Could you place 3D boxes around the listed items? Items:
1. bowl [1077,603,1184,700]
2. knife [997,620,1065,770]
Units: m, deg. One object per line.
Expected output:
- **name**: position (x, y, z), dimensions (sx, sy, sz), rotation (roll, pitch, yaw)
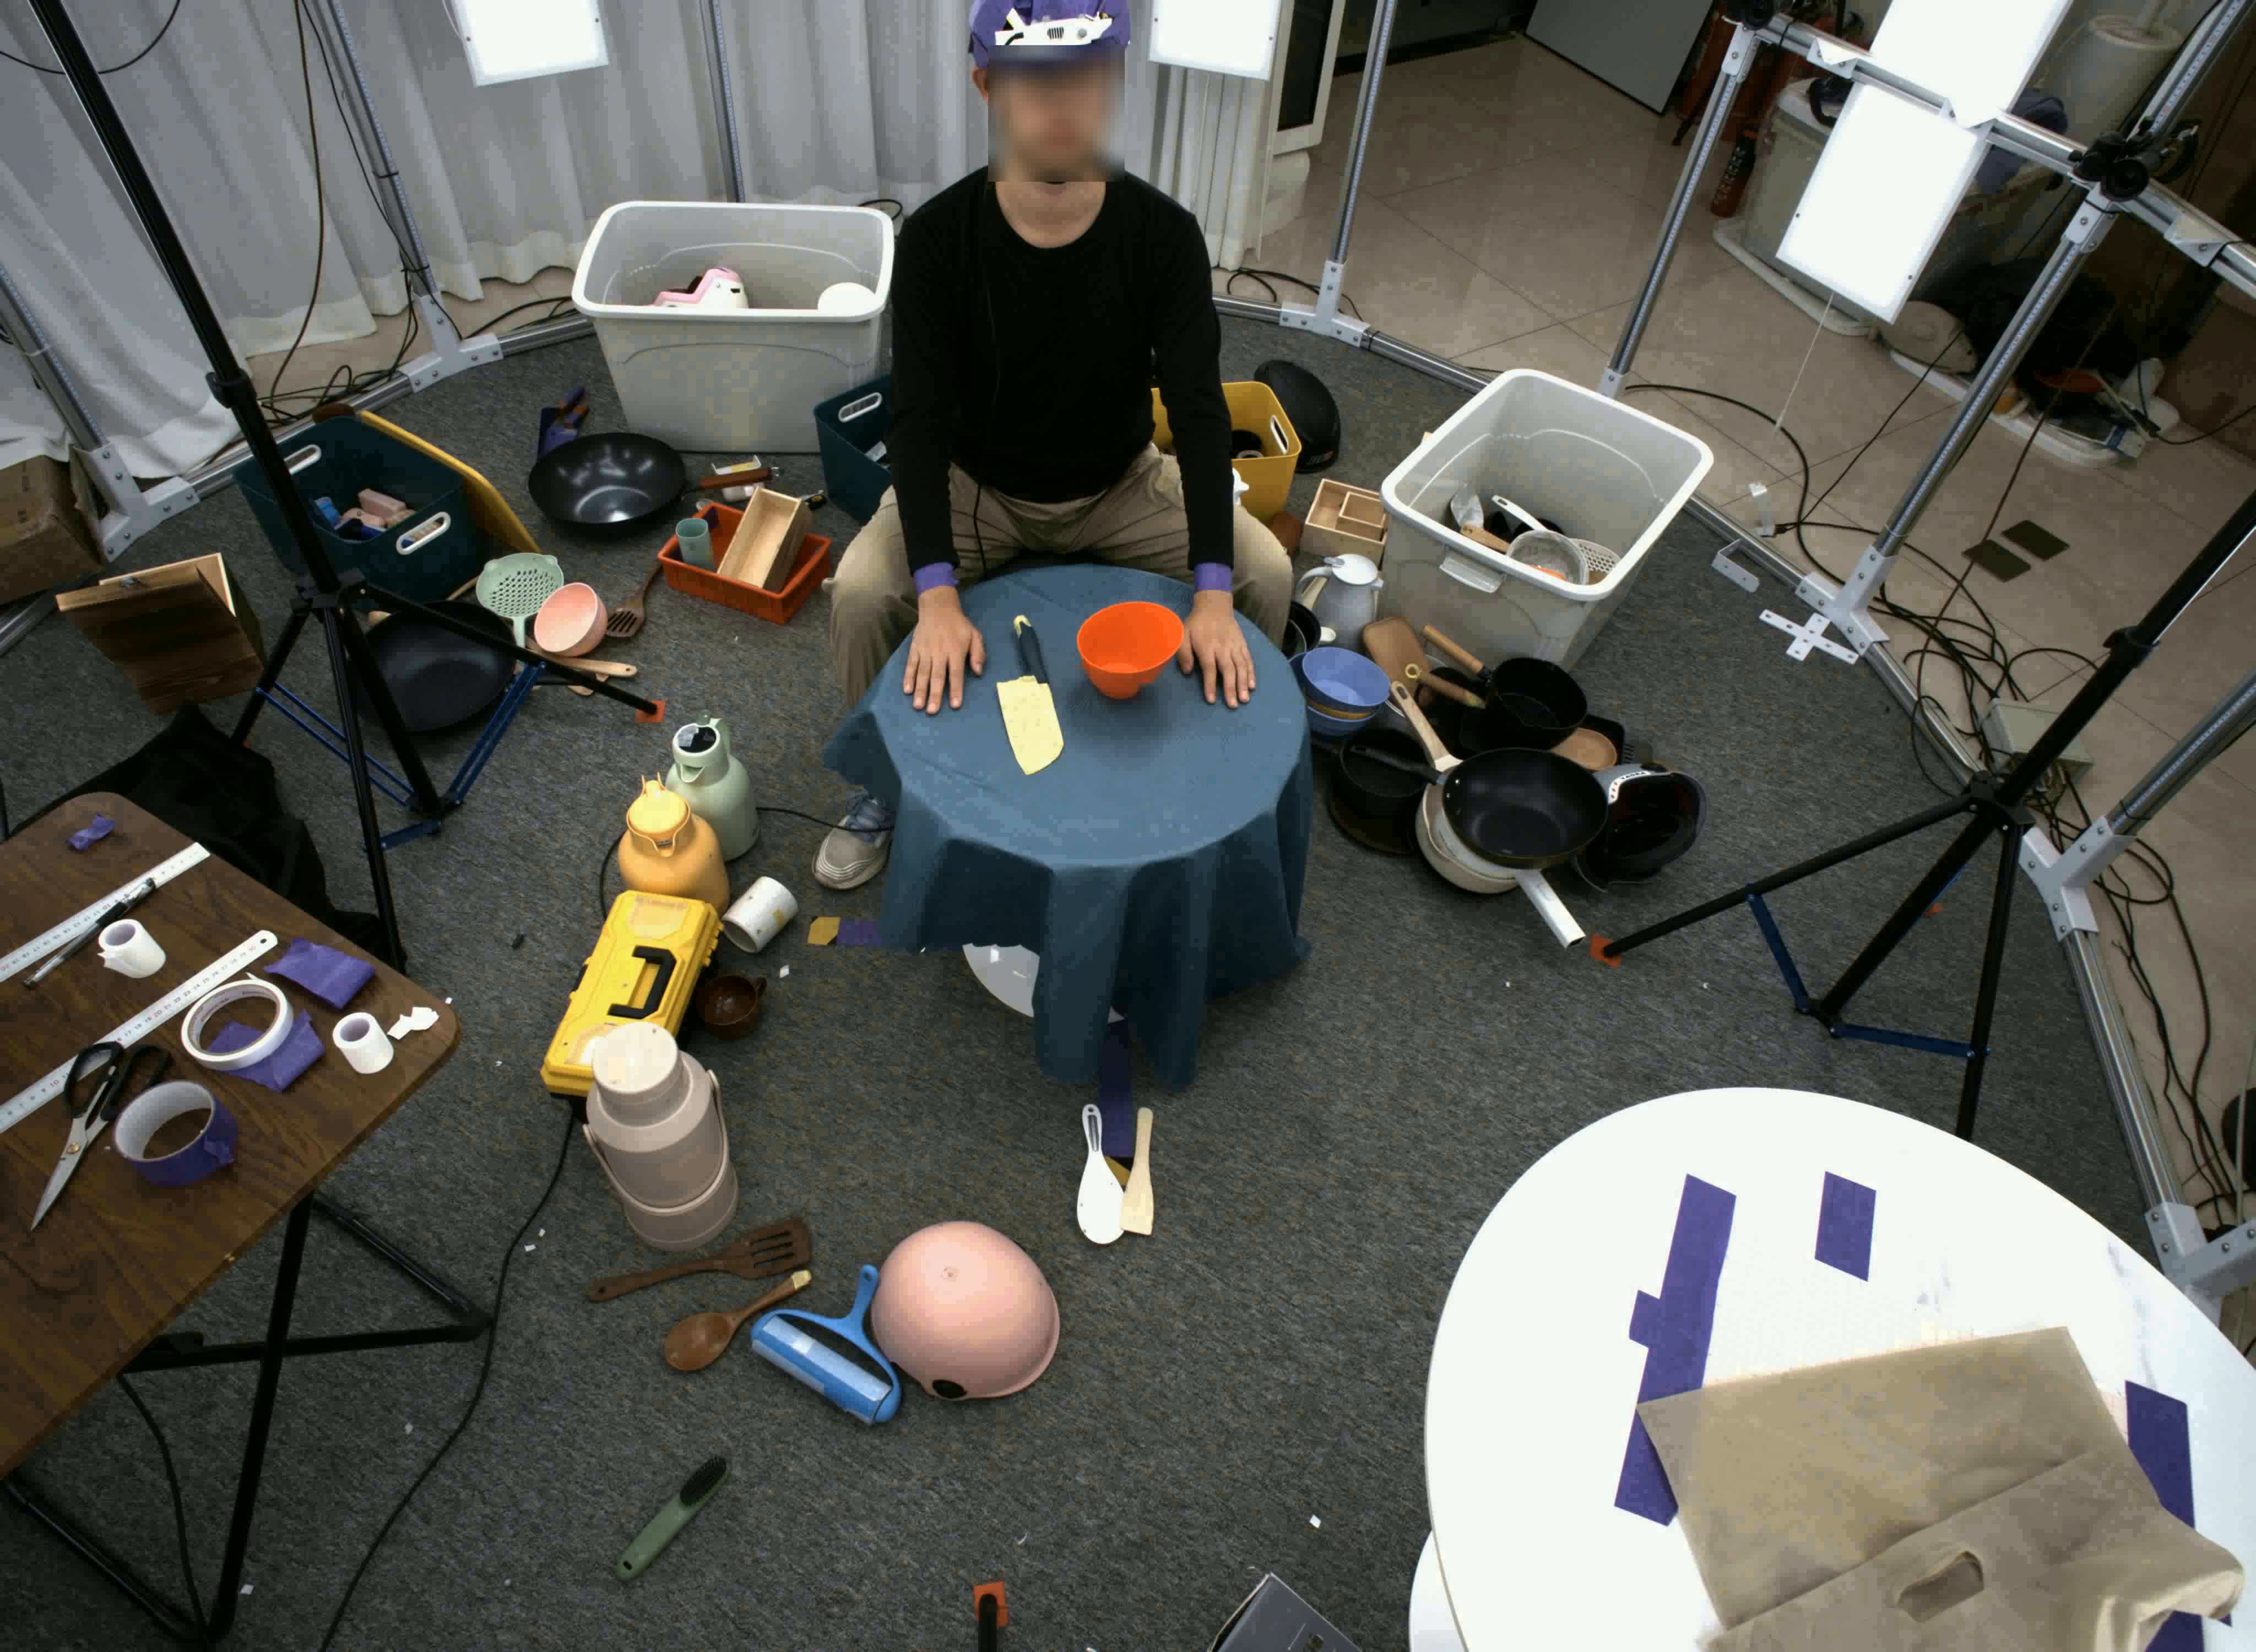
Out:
- **bowl**: position (0.001, -0.235, 1.808), dimensions (0.148, 0.102, 0.152), rotation (1, 50, -2)
- **knife**: position (-0.143, -0.188, 1.814), dimensions (0.081, 0.026, 0.297), rotation (-5, 51, -10)
